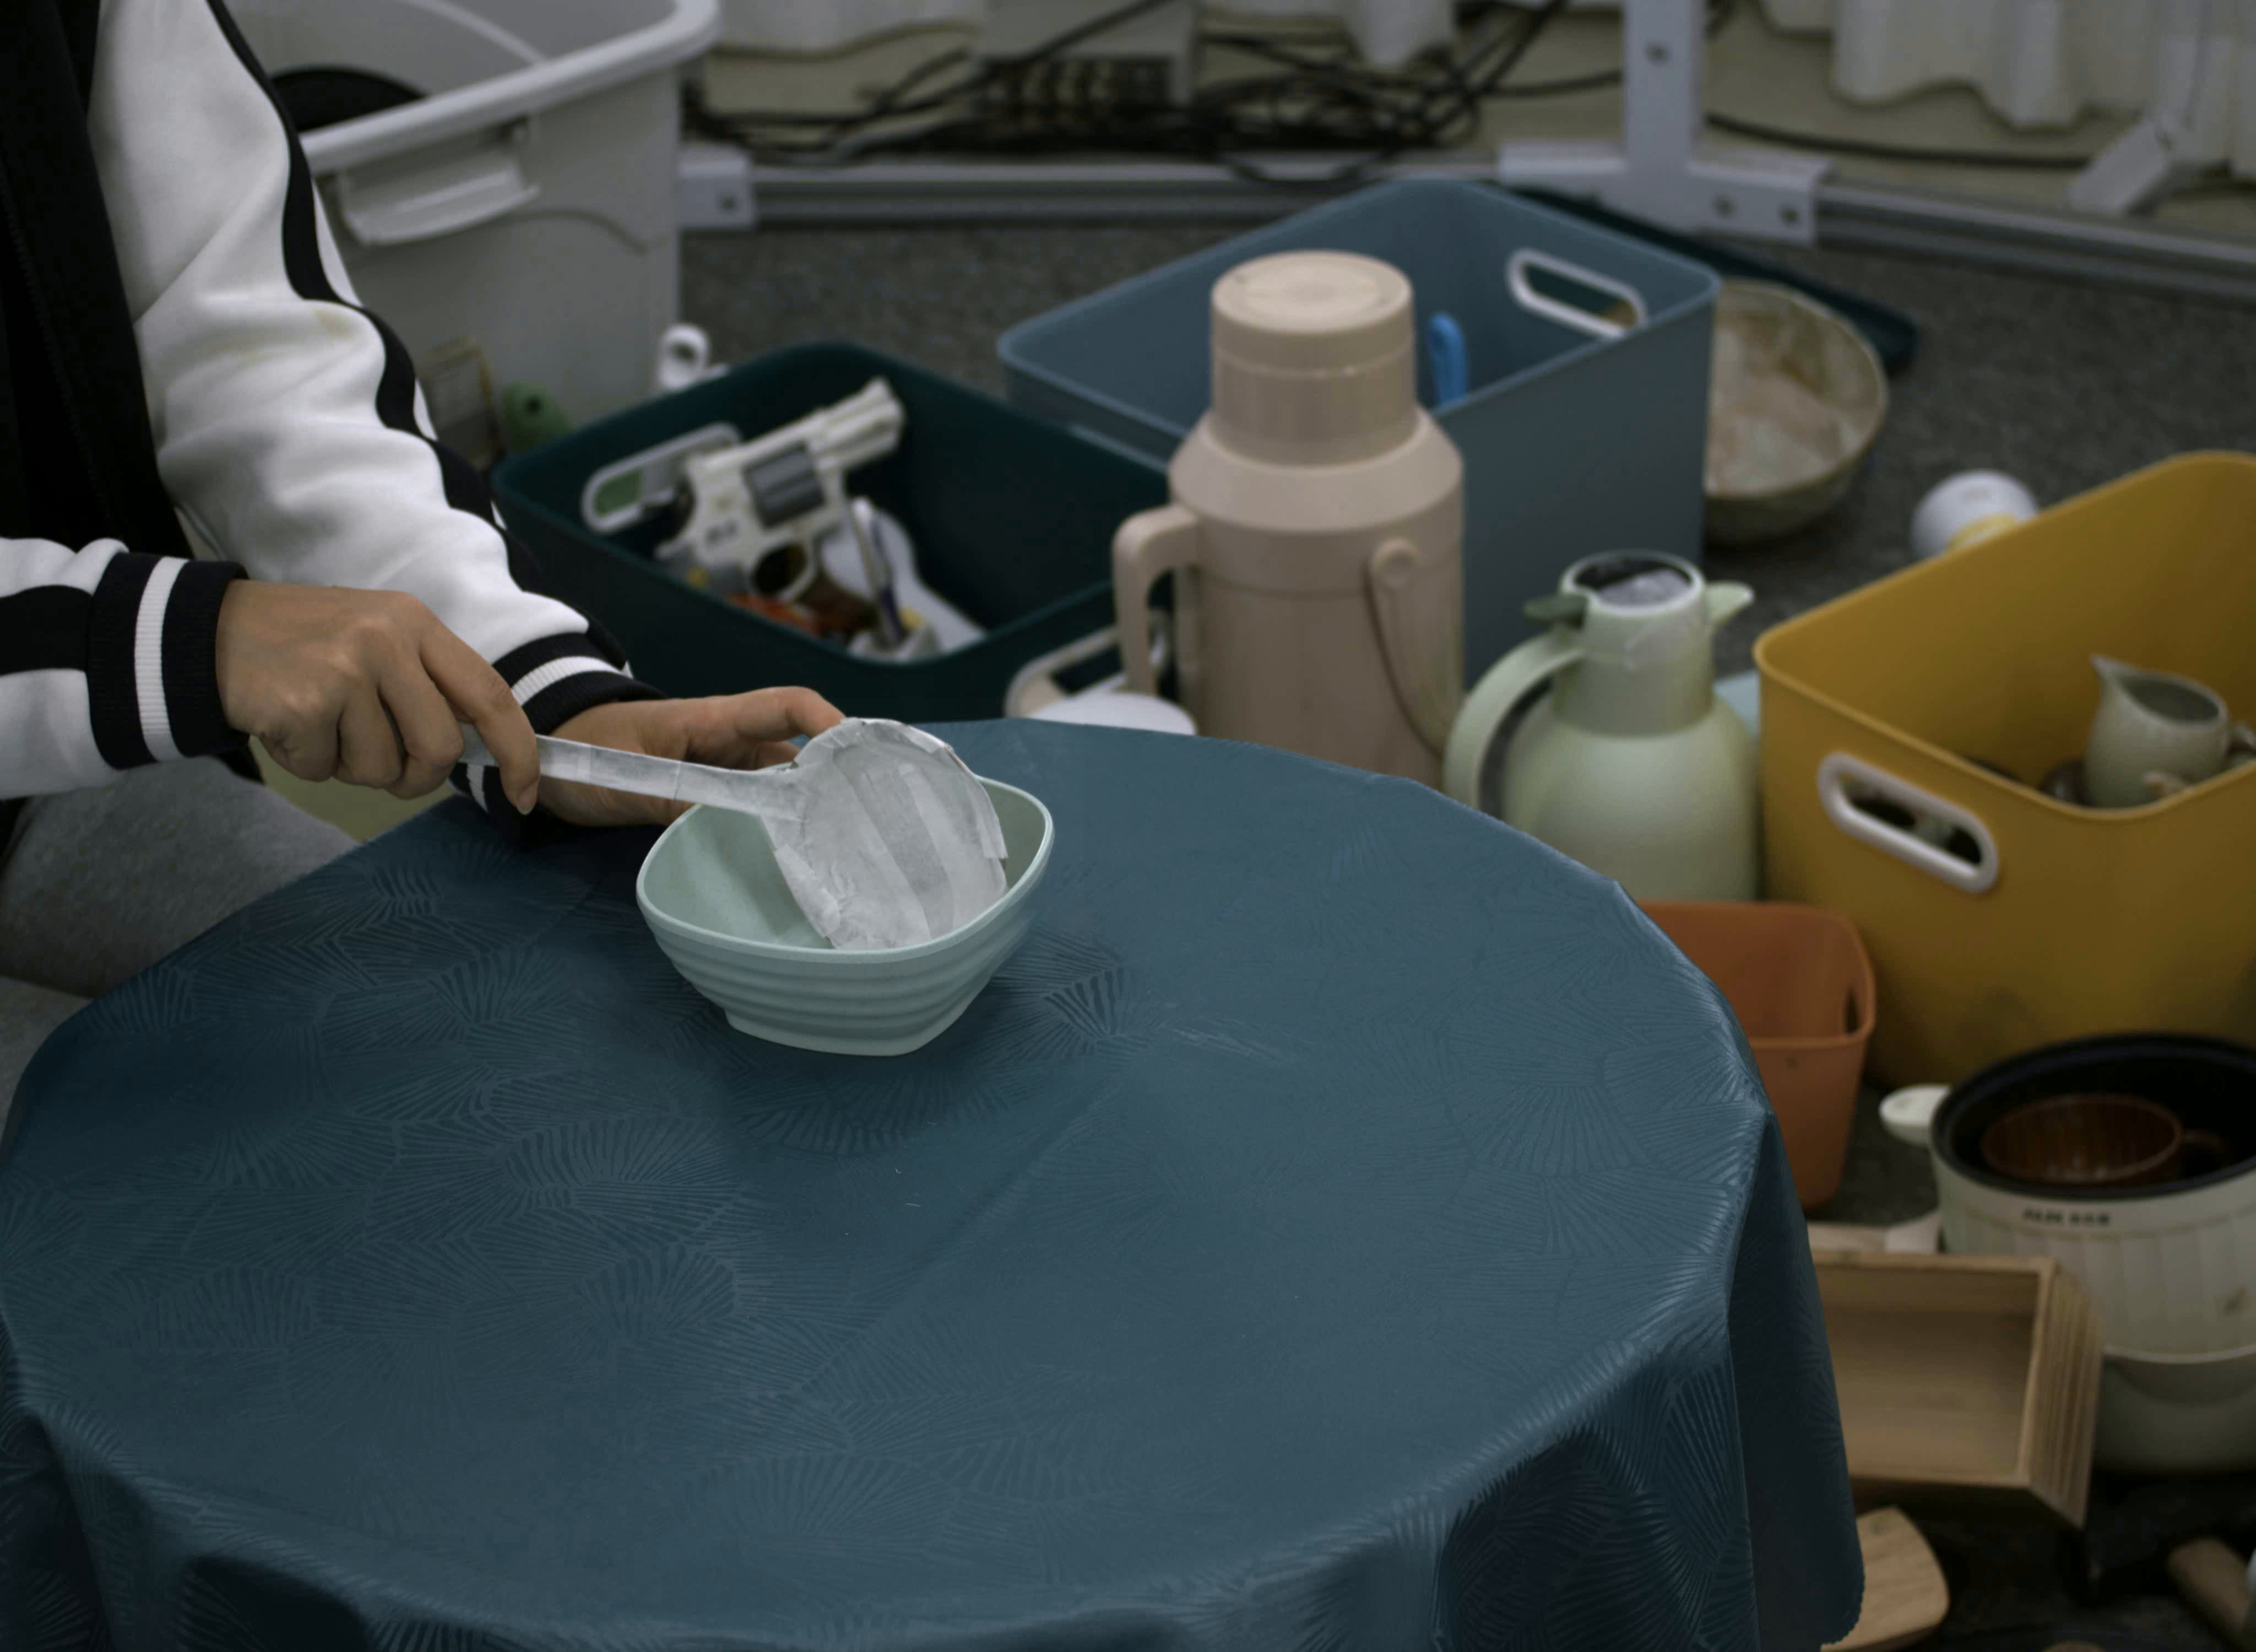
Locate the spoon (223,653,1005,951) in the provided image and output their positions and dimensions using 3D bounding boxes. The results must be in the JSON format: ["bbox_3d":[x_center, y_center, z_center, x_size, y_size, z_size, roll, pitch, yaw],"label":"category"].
[{"bbox_3d":[-0.178,-0.017,1.954,0.276,0.100,0.060,13,17,-13],"label":"spoon"}]

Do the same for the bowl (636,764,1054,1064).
[{"bbox_3d":[-0.097,0.037,1.979,0.151,0.058,0.154,-2,28,1],"label":"bowl"}]
